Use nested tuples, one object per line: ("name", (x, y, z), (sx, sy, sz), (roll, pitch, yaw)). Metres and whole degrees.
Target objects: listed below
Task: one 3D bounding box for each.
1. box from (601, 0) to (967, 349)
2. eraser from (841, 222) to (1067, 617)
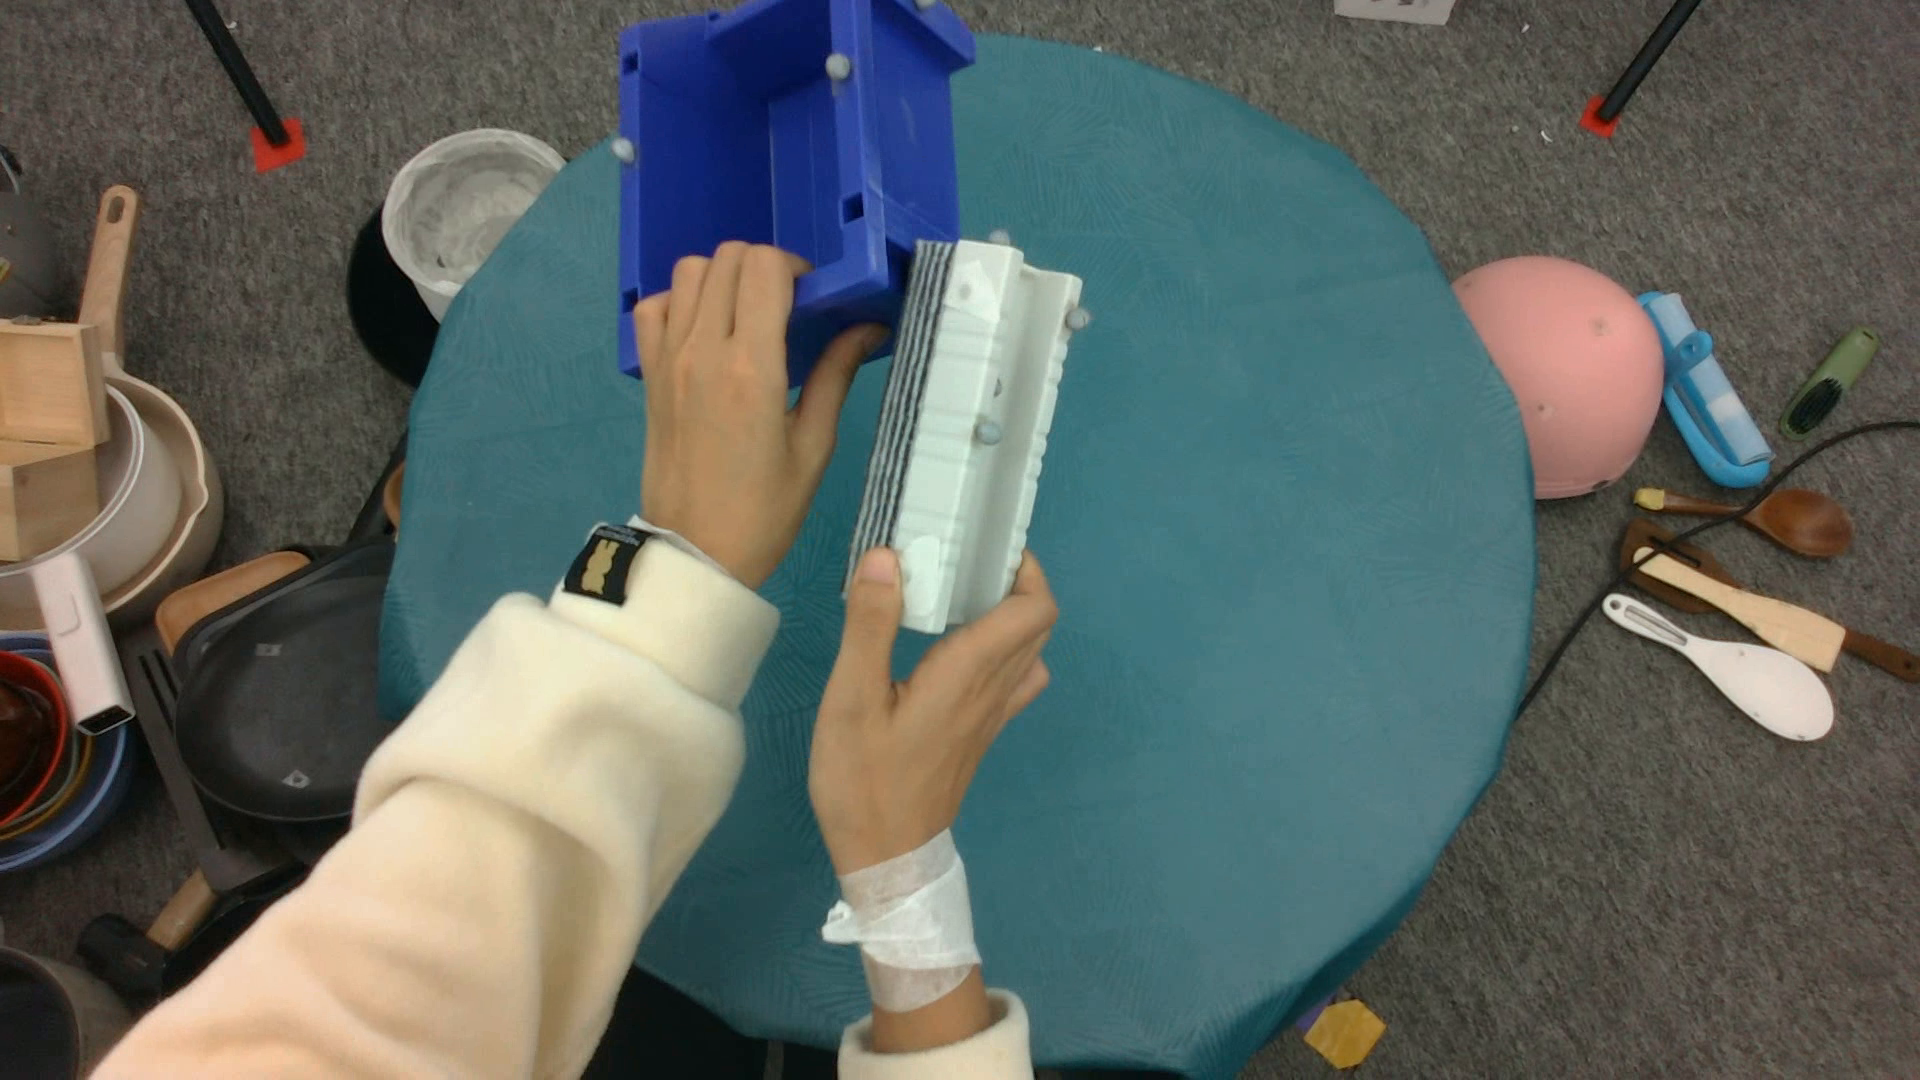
("box", (-0.072, -0.170, 0.545), (0.124, 0.082, 0.180), (-12, 75, 31))
("eraser", (-0.004, -0.042, 0.492), (0.046, 0.050, 0.134), (13, 95, 32))
